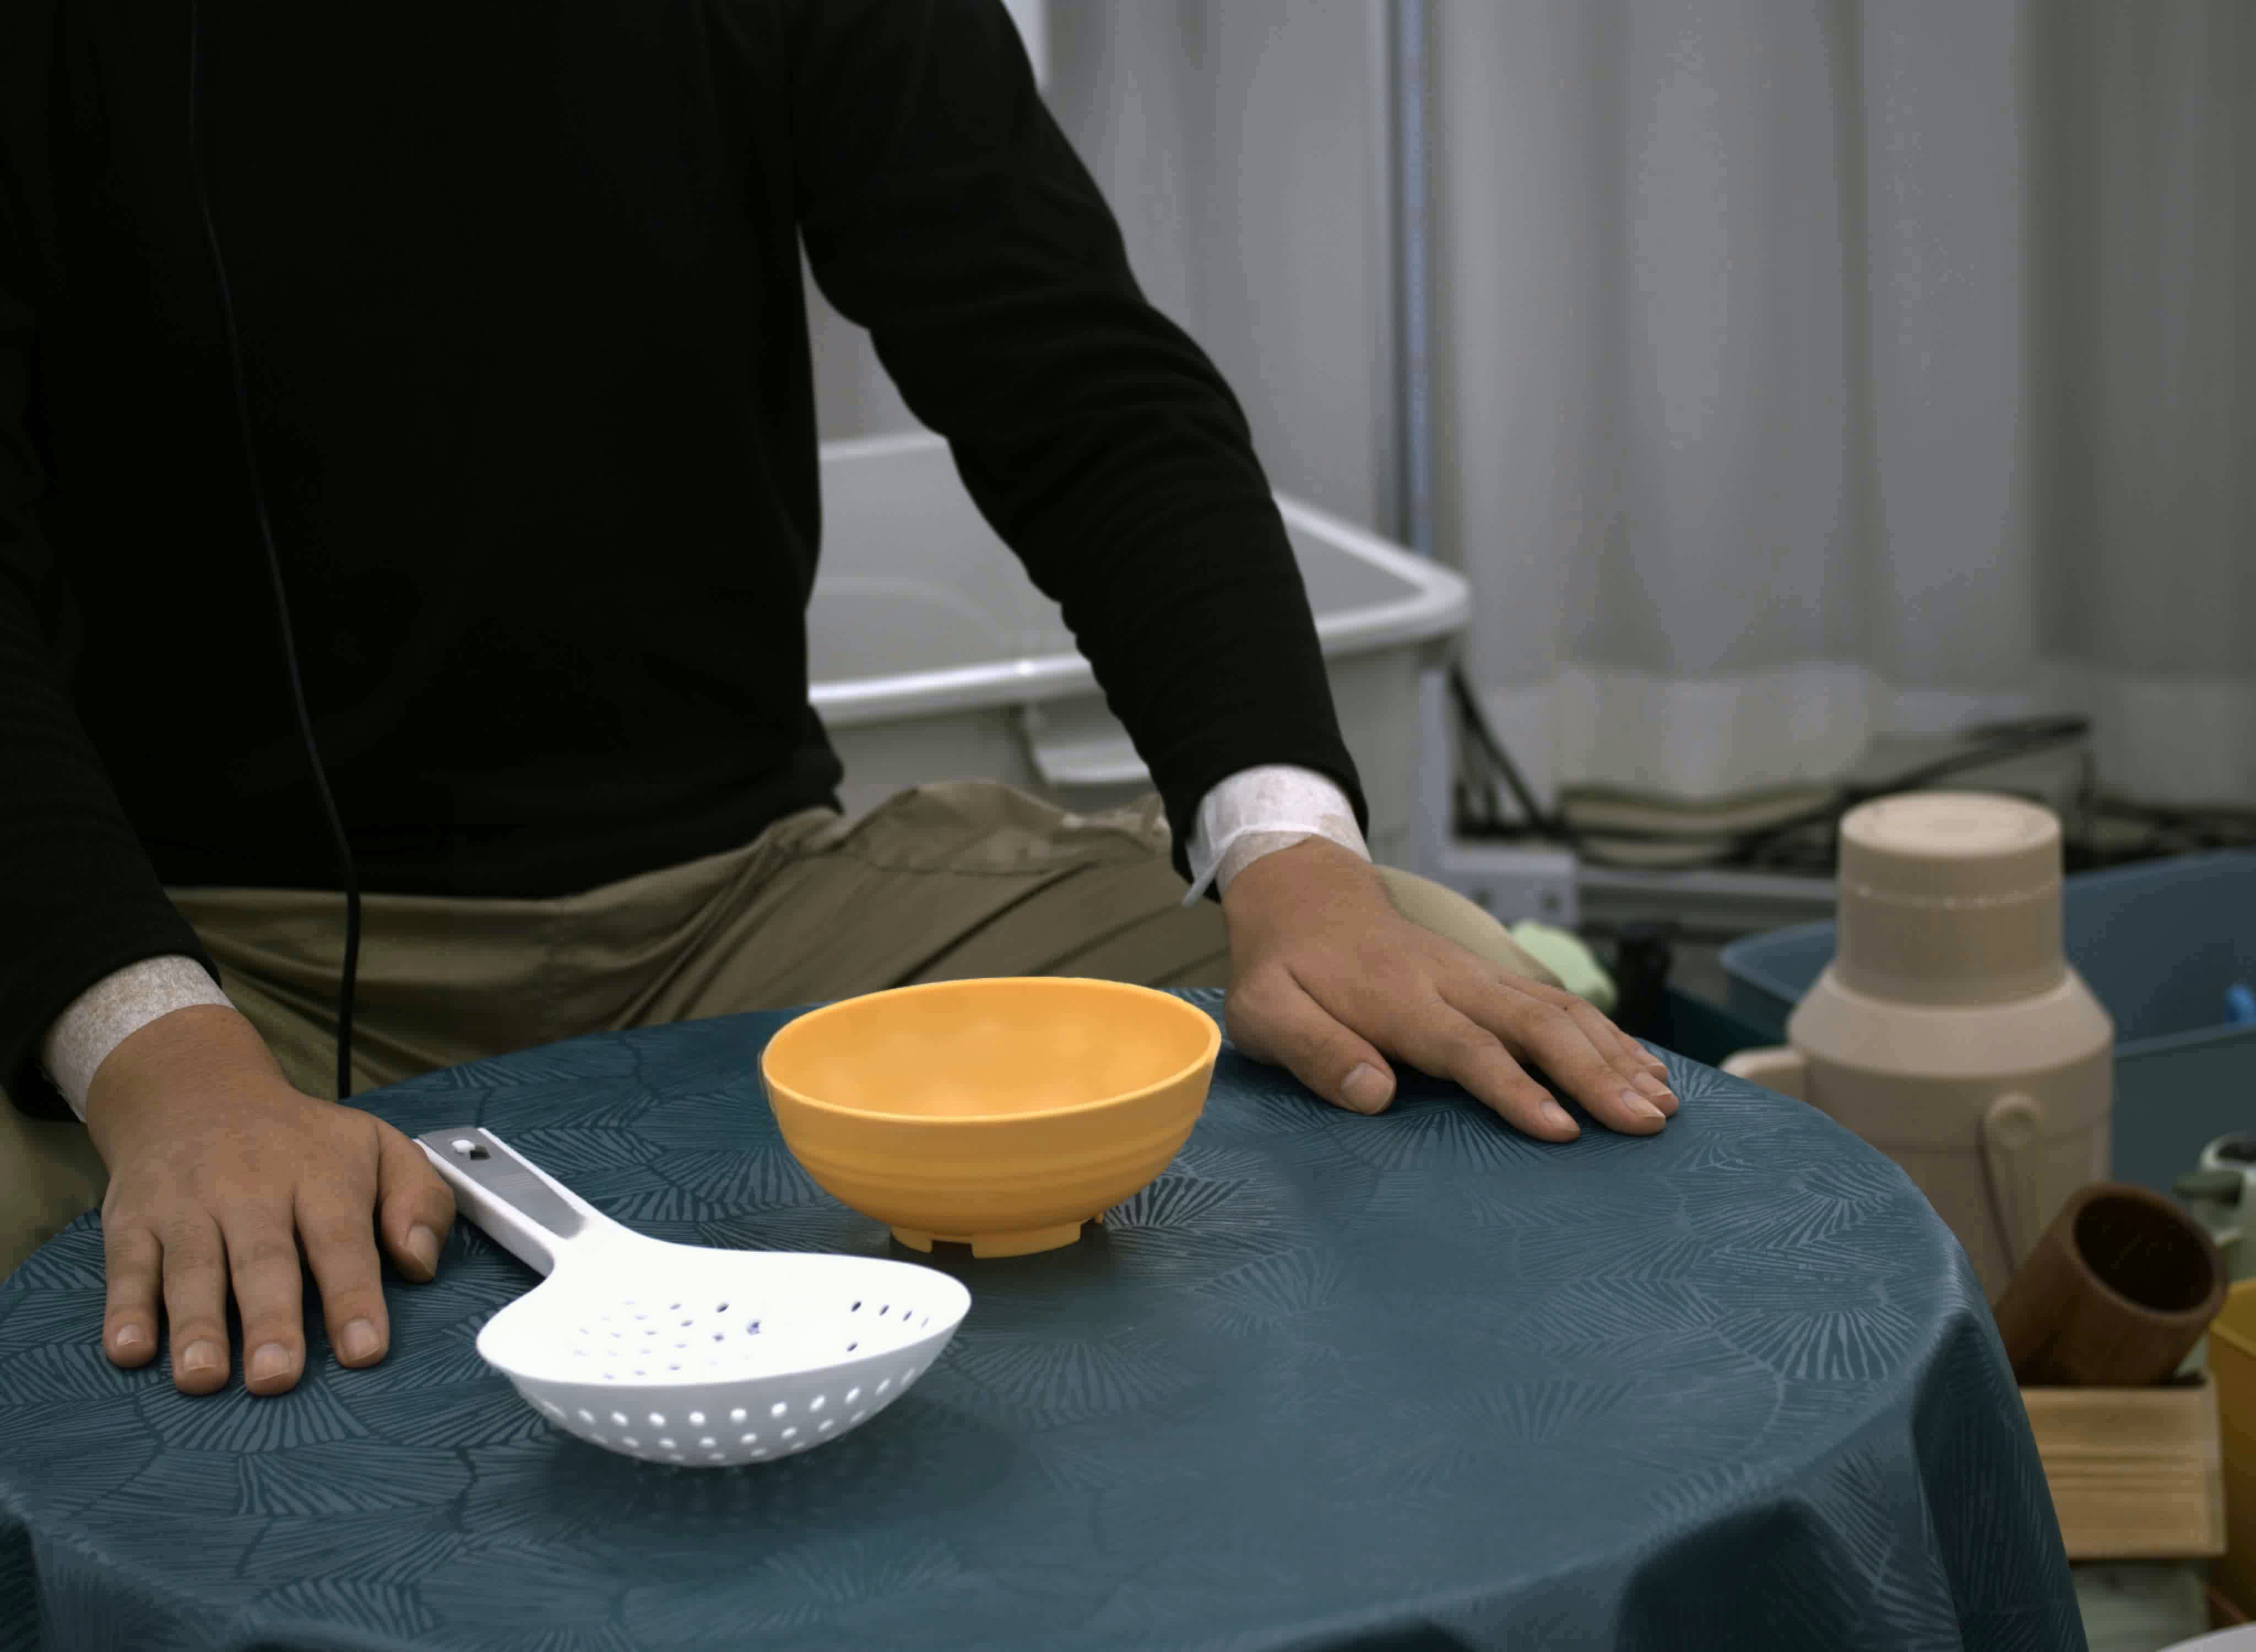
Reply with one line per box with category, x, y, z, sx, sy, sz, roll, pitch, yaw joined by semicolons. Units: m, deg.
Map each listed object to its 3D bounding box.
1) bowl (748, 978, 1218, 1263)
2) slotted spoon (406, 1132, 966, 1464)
bowl;-0.044;0.096;1.685;0.145;0.060;0.146;-1;15;0
slotted spoon;-0.154;0.128;1.603;0.135;0.045;0.352;-8;15;-22
